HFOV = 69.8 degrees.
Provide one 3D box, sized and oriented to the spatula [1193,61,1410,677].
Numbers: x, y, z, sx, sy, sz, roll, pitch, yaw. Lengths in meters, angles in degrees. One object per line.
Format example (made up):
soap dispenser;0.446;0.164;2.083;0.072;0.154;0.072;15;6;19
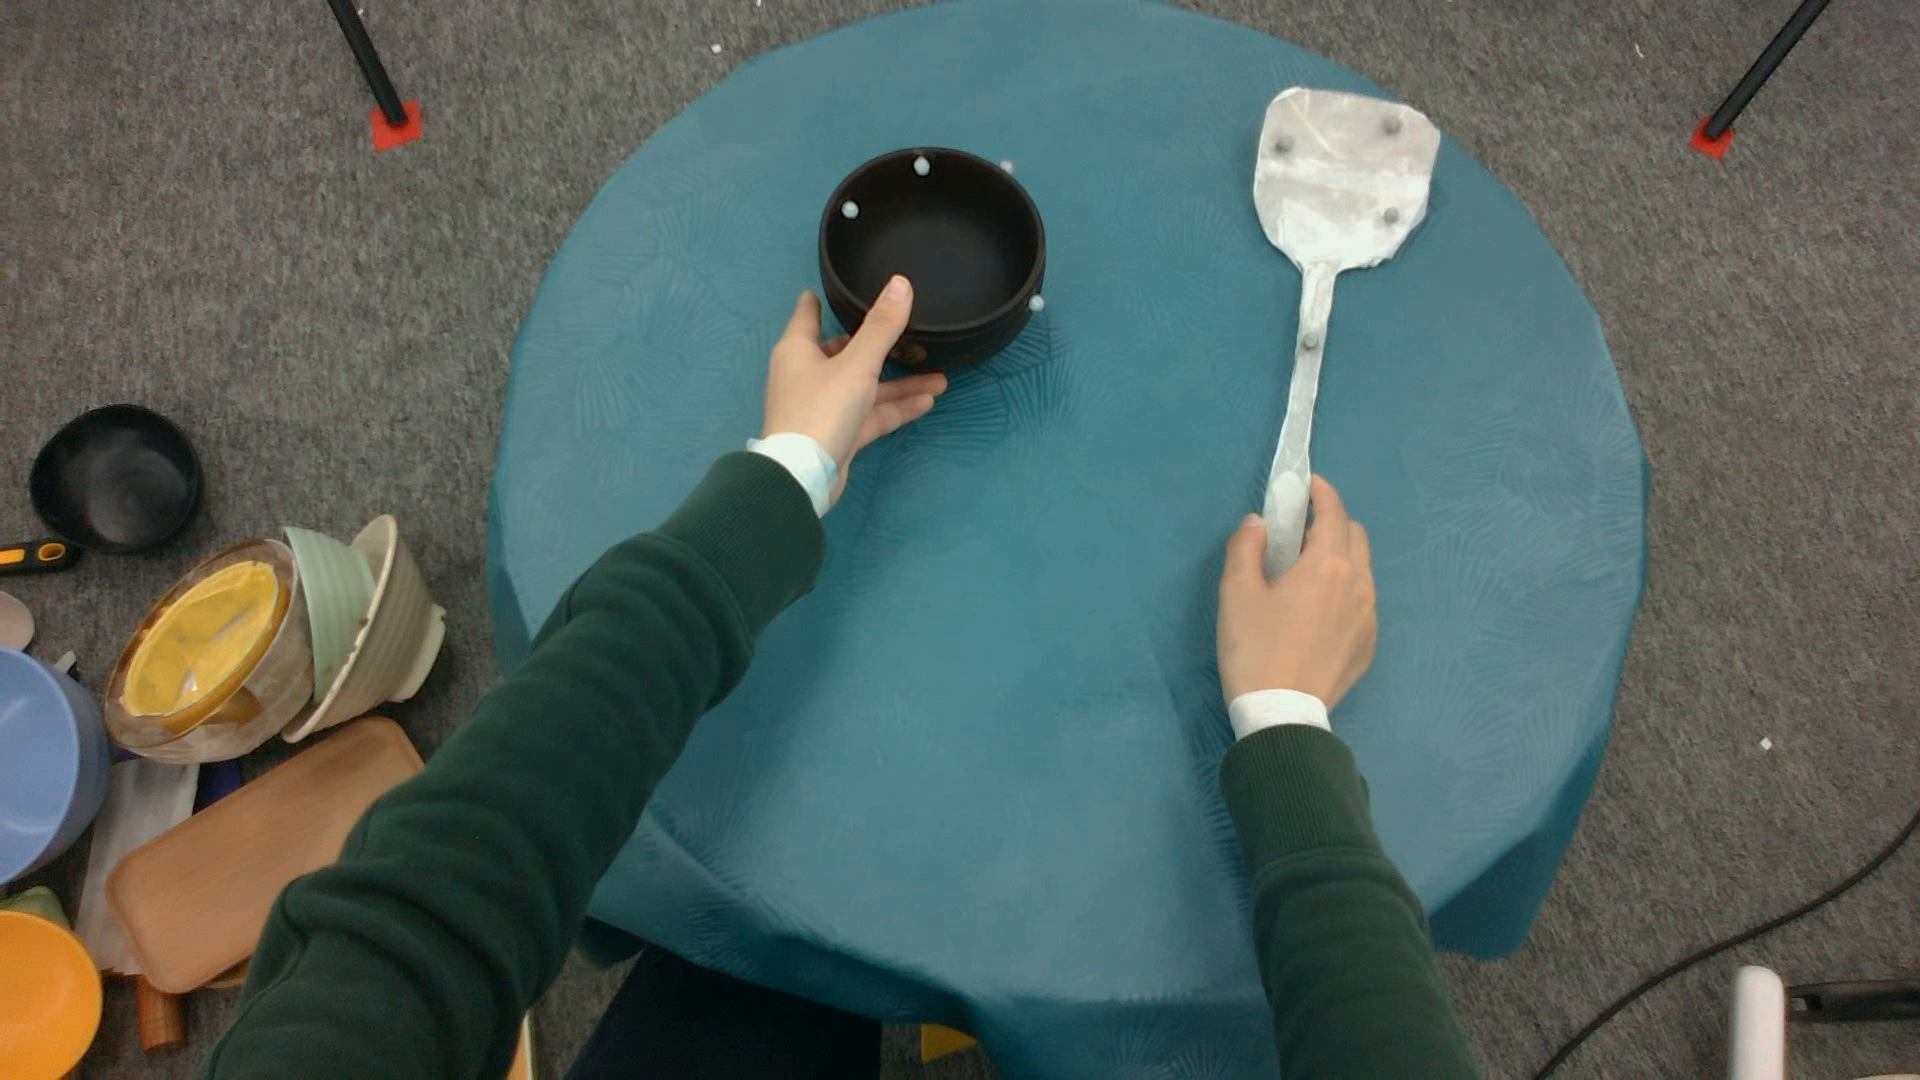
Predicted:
spatula;0.167;-0.100;0.724;0.098;0.044;0.366;13;65;3

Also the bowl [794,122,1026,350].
bowl;-0.026;-0.150;0.718;0.118;0.069;0.118;1;66;-1
